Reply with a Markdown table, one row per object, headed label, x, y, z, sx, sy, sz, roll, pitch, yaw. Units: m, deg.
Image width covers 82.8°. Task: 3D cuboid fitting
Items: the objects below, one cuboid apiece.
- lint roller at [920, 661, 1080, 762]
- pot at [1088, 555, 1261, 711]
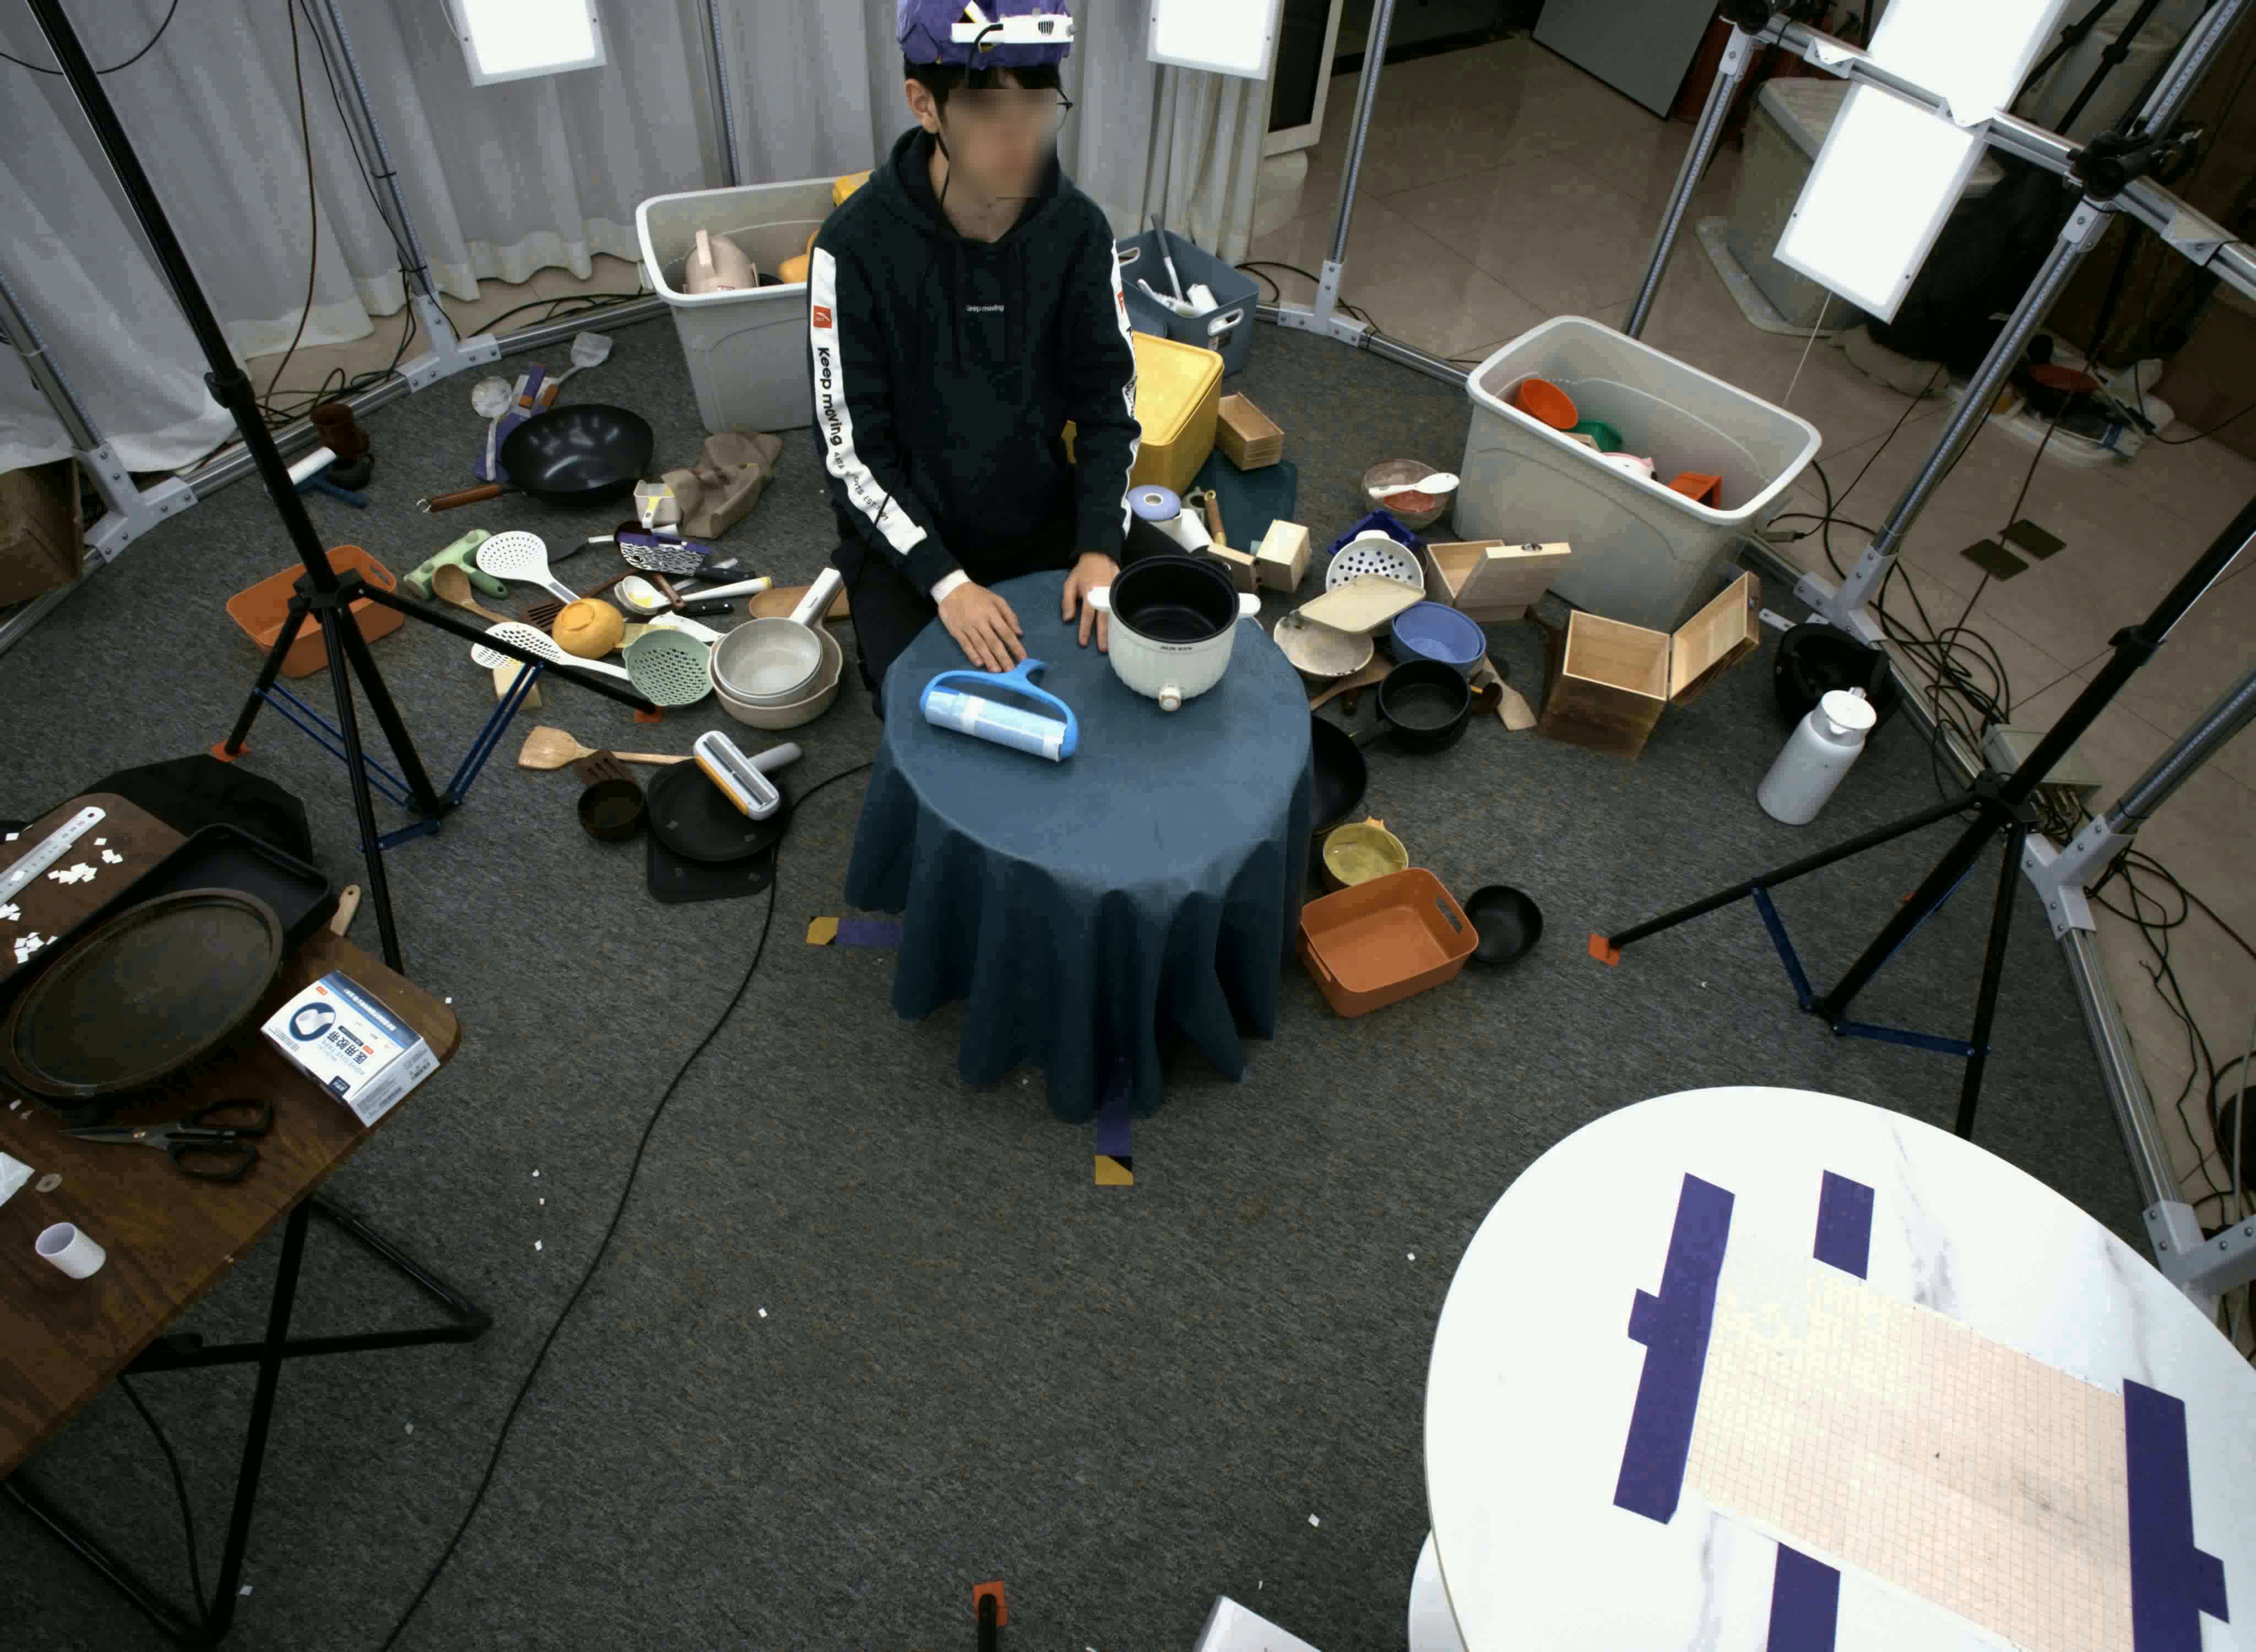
| label | x | y | z | sx | sy | sz | roll | pitch | yaw |
| --- | --- | --- | --- | --- | --- | --- | --- | --- | --- |
| lint roller | -0.158 | -0.183 | 1.780 | 0.229 | 0.066 | 0.184 | 14 | 52 | 11 |
| pot | 0.063 | -0.269 | 1.816 | 0.240 | 0.139 | 0.195 | 0 | 46 | -2 |
